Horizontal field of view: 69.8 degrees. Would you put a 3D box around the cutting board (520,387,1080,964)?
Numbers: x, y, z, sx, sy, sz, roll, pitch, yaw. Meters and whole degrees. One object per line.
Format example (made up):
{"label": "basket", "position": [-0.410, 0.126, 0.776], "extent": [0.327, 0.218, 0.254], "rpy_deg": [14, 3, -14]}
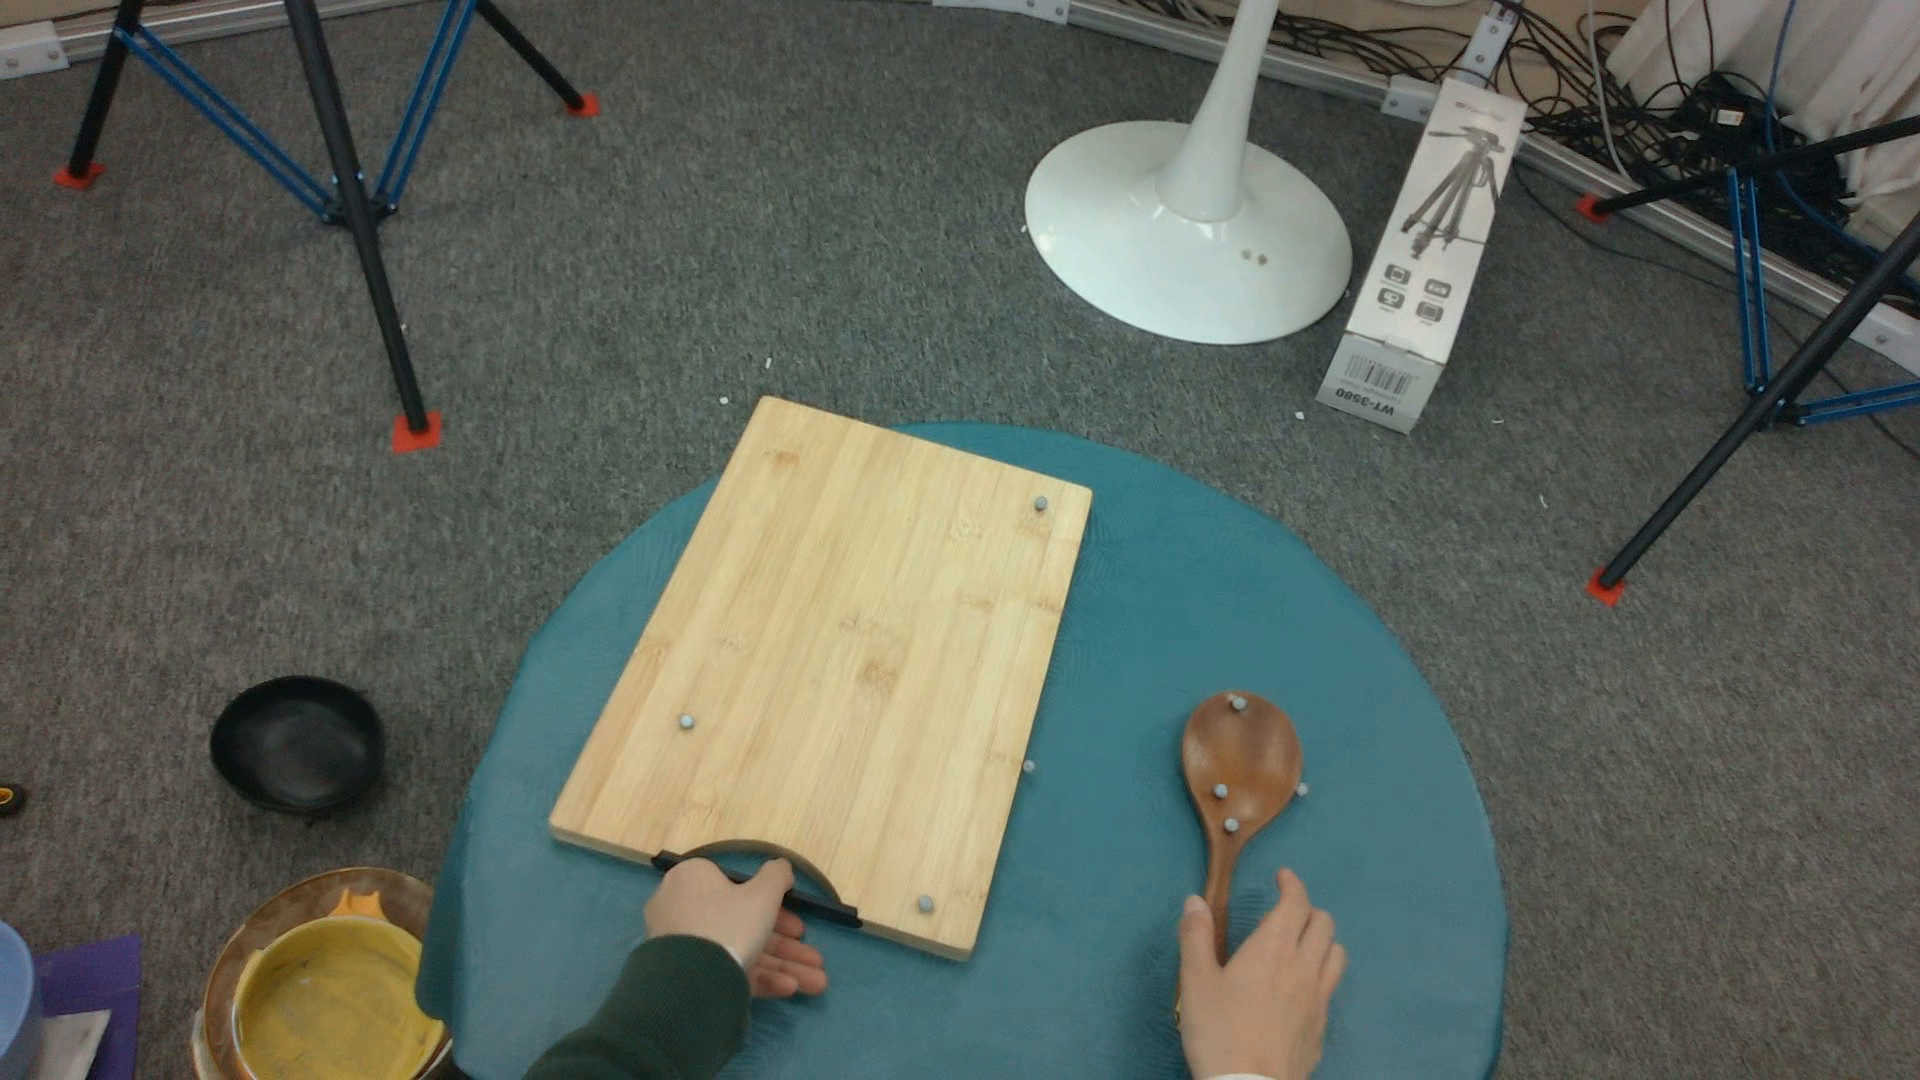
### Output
{"label": "cutting board", "position": [-0.078, 0.062, 0.844], "extent": [0.251, 0.023, 0.350], "rpy_deg": [15, 52, 2]}

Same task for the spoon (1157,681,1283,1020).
{"label": "spoon", "position": [0.143, 0.174, 0.799], "extent": [0.075, 0.017, 0.217], "rpy_deg": [18, 51, 1]}
